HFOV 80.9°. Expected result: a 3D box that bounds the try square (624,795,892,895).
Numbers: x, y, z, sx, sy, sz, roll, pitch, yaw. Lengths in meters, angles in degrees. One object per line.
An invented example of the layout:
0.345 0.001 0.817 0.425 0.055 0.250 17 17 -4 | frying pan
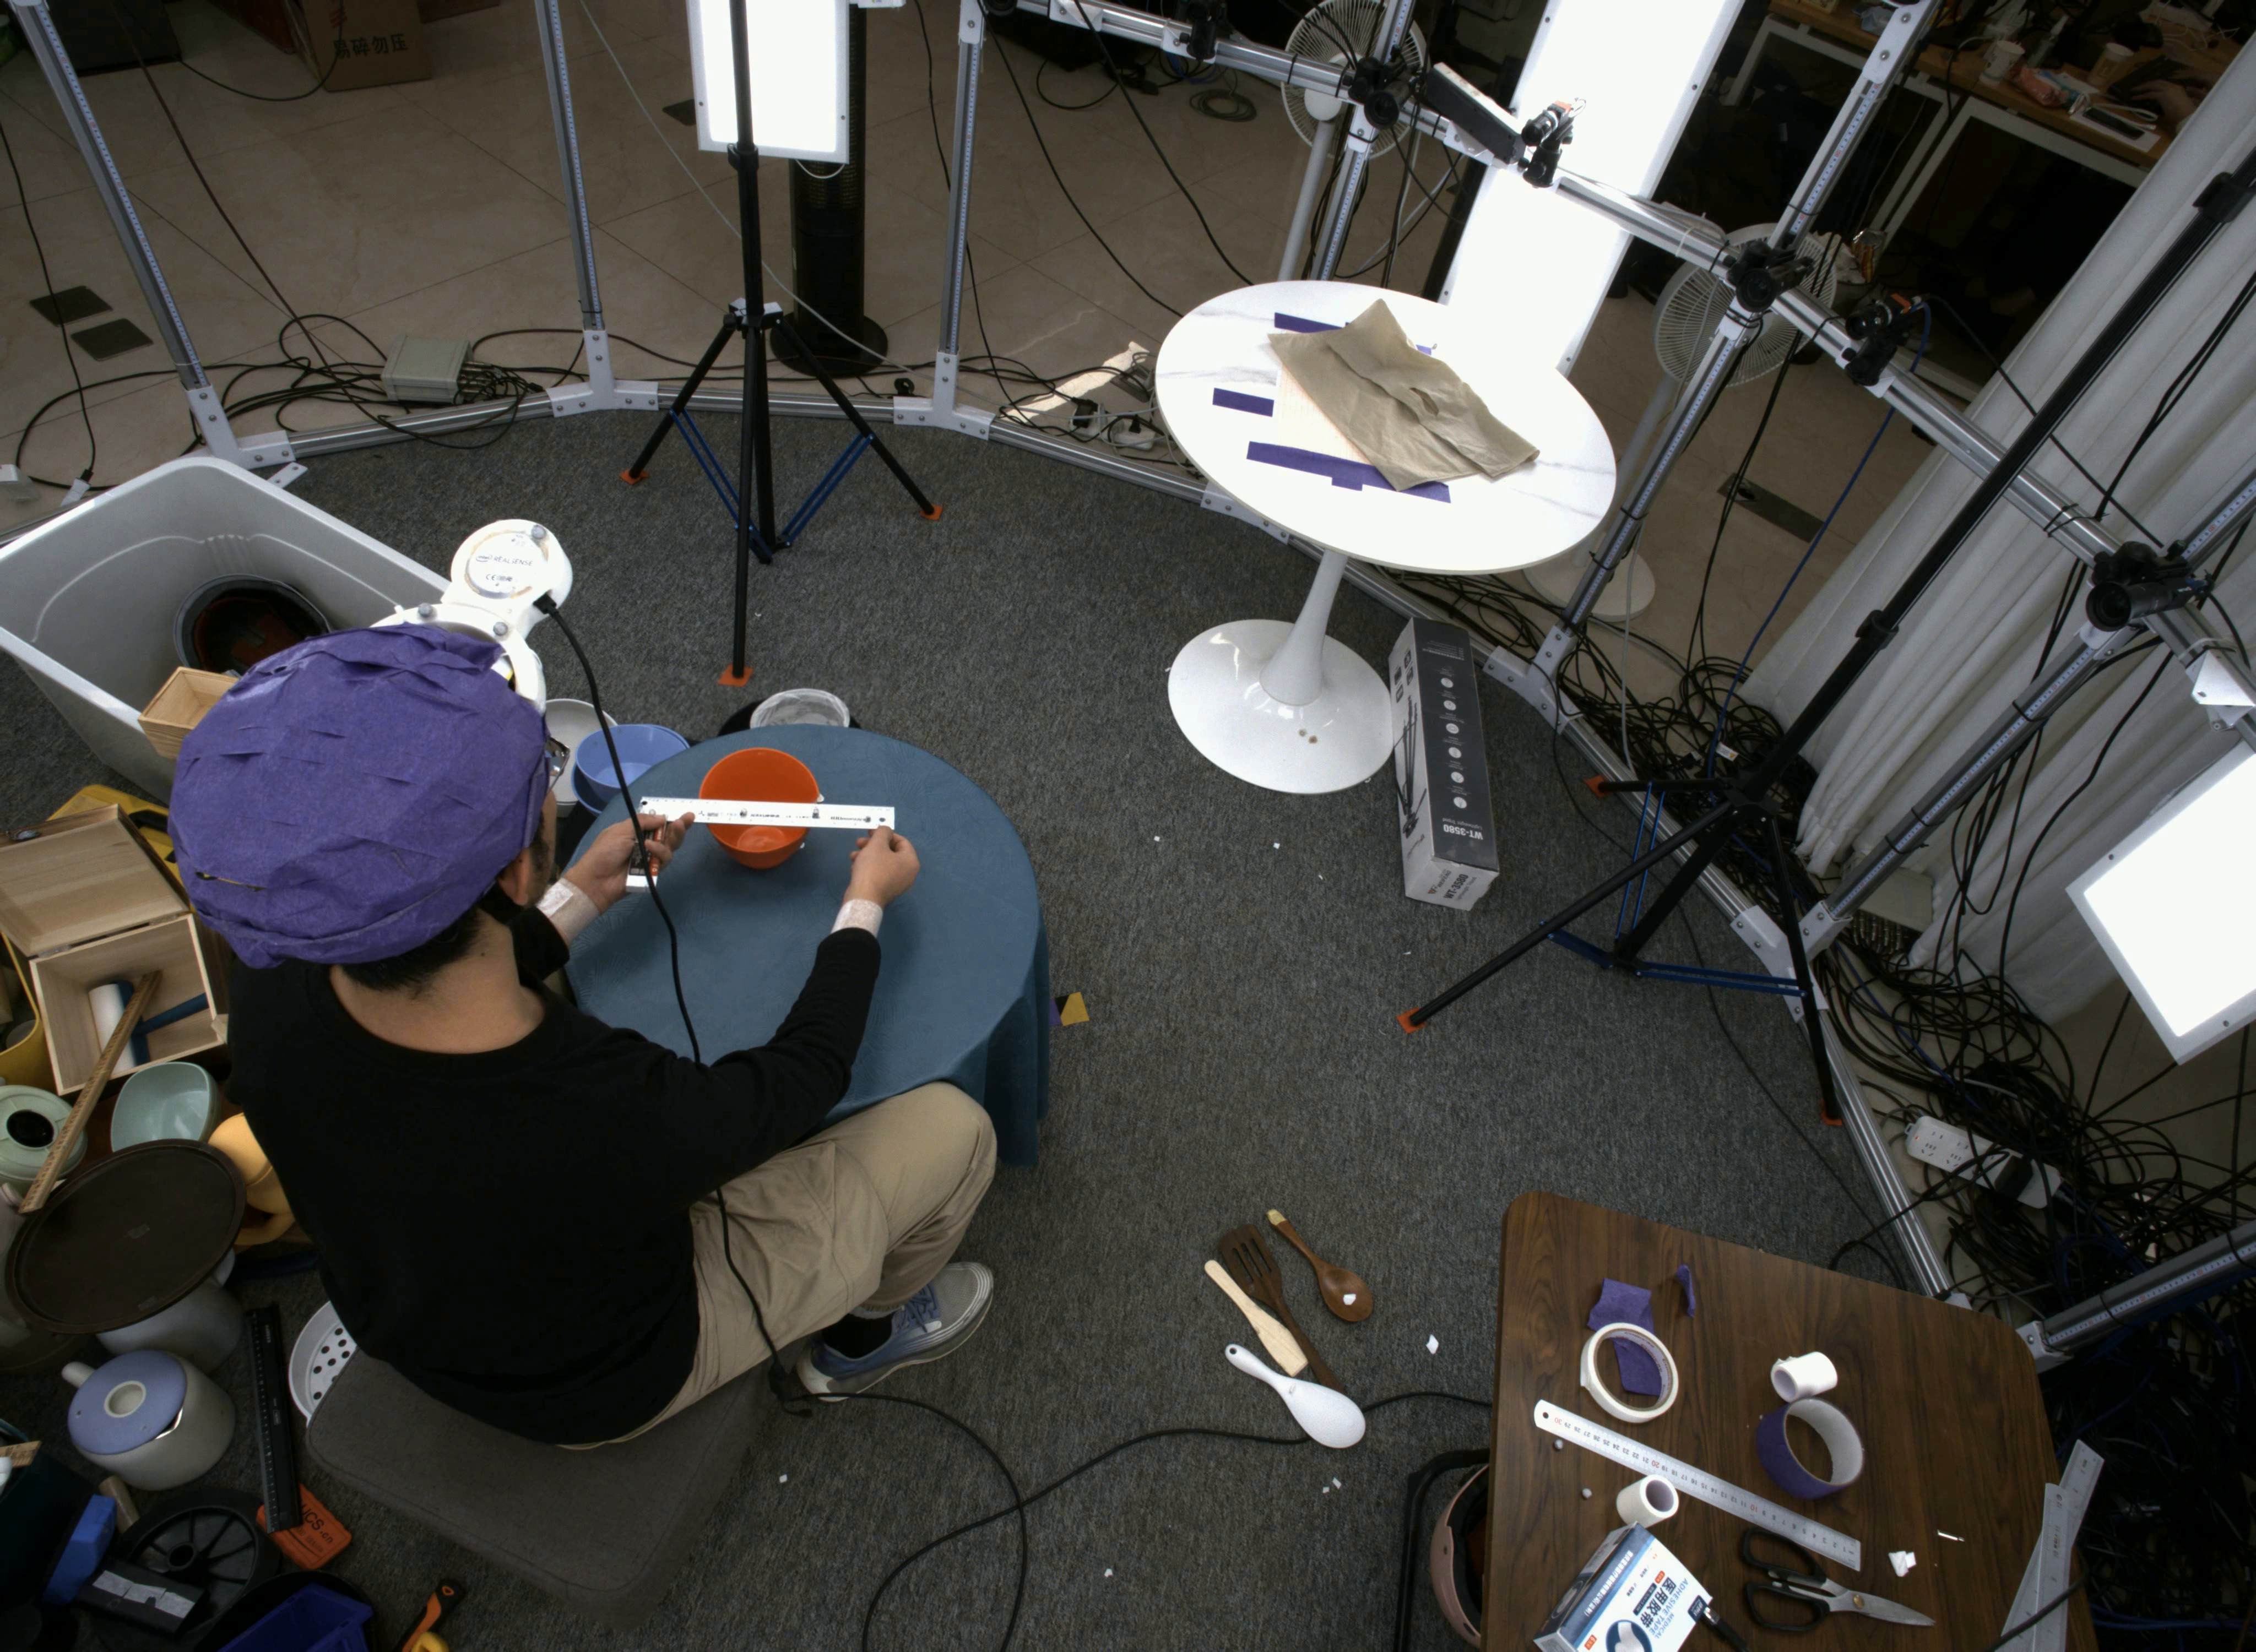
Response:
-0.443 0.022 1.568 0.314 0.016 0.149 2 50 -15 | try square

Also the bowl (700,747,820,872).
-0.468 -0.010 1.650 0.148 0.106 0.145 8 52 -9 | bowl
